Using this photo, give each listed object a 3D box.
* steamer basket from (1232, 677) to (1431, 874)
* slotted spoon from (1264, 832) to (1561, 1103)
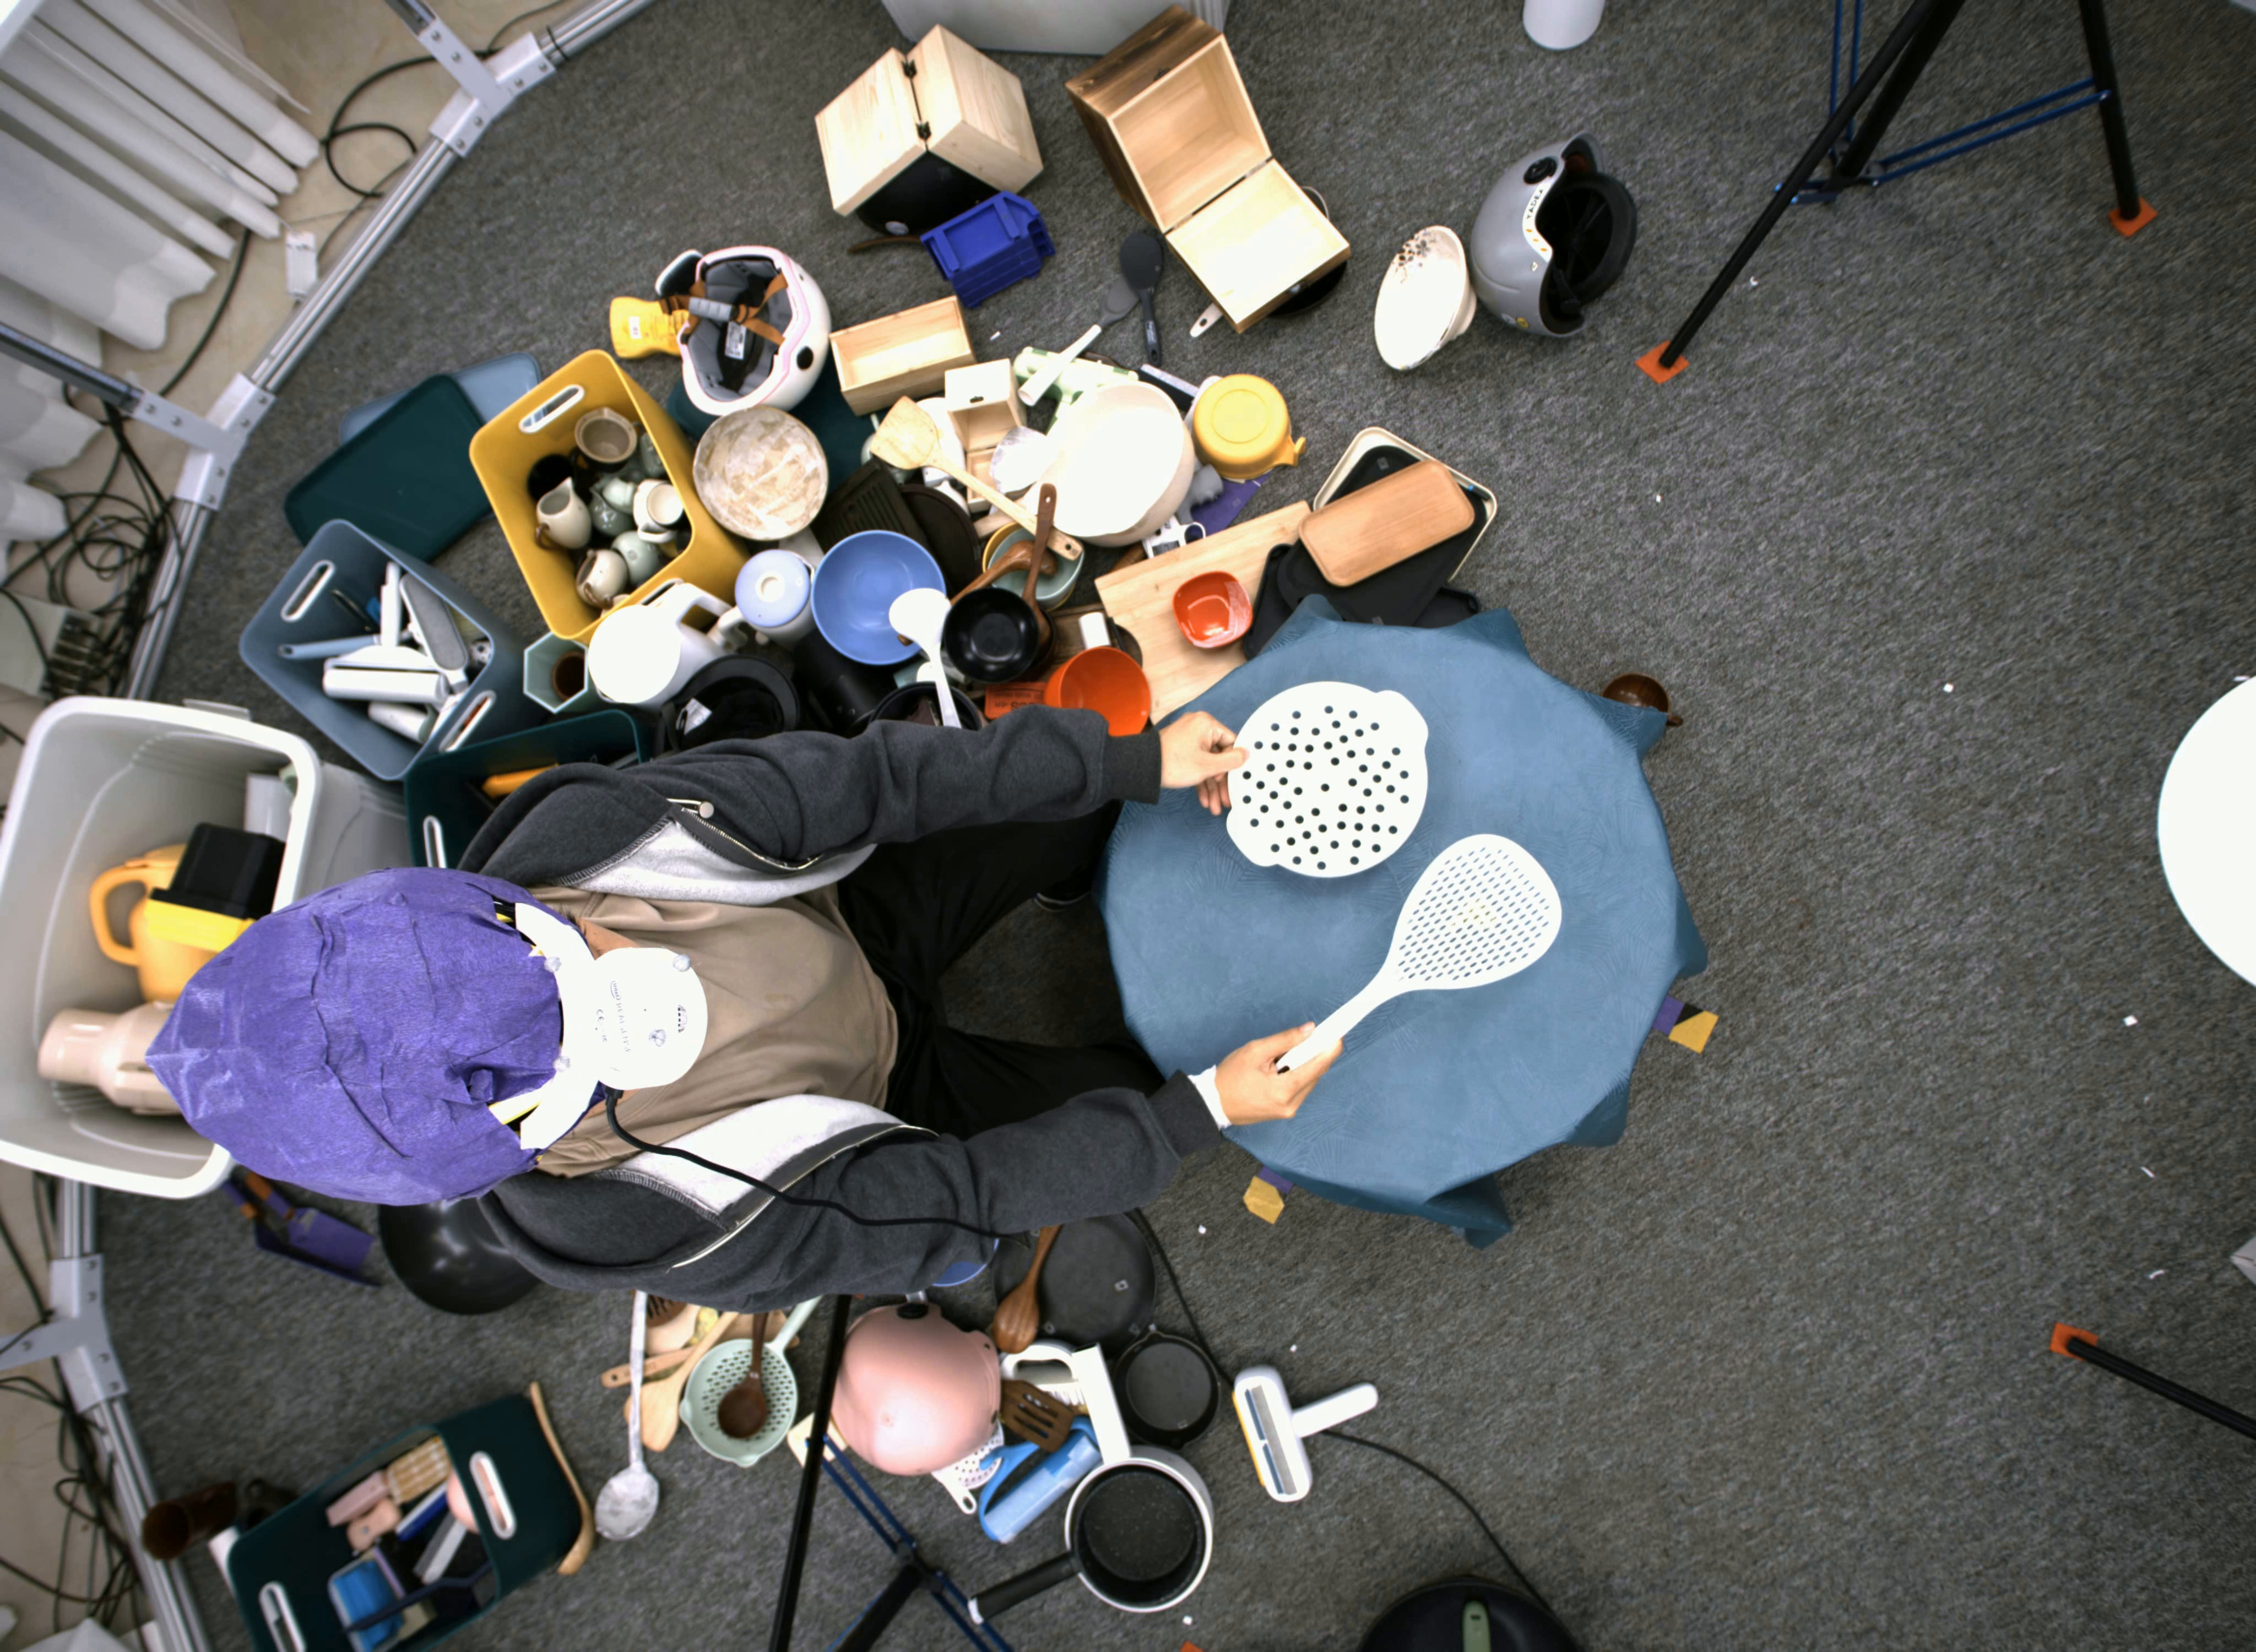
[{"bbox_3d":[0.209,-0.051,1.427,0.230,0.069,0.201,-39,81,-1],"label":"steamer basket"},{"bbox_3d":[0.261,0.147,1.341,0.349,0.050,0.136,-40,81,3],"label":"slotted spoon"}]
